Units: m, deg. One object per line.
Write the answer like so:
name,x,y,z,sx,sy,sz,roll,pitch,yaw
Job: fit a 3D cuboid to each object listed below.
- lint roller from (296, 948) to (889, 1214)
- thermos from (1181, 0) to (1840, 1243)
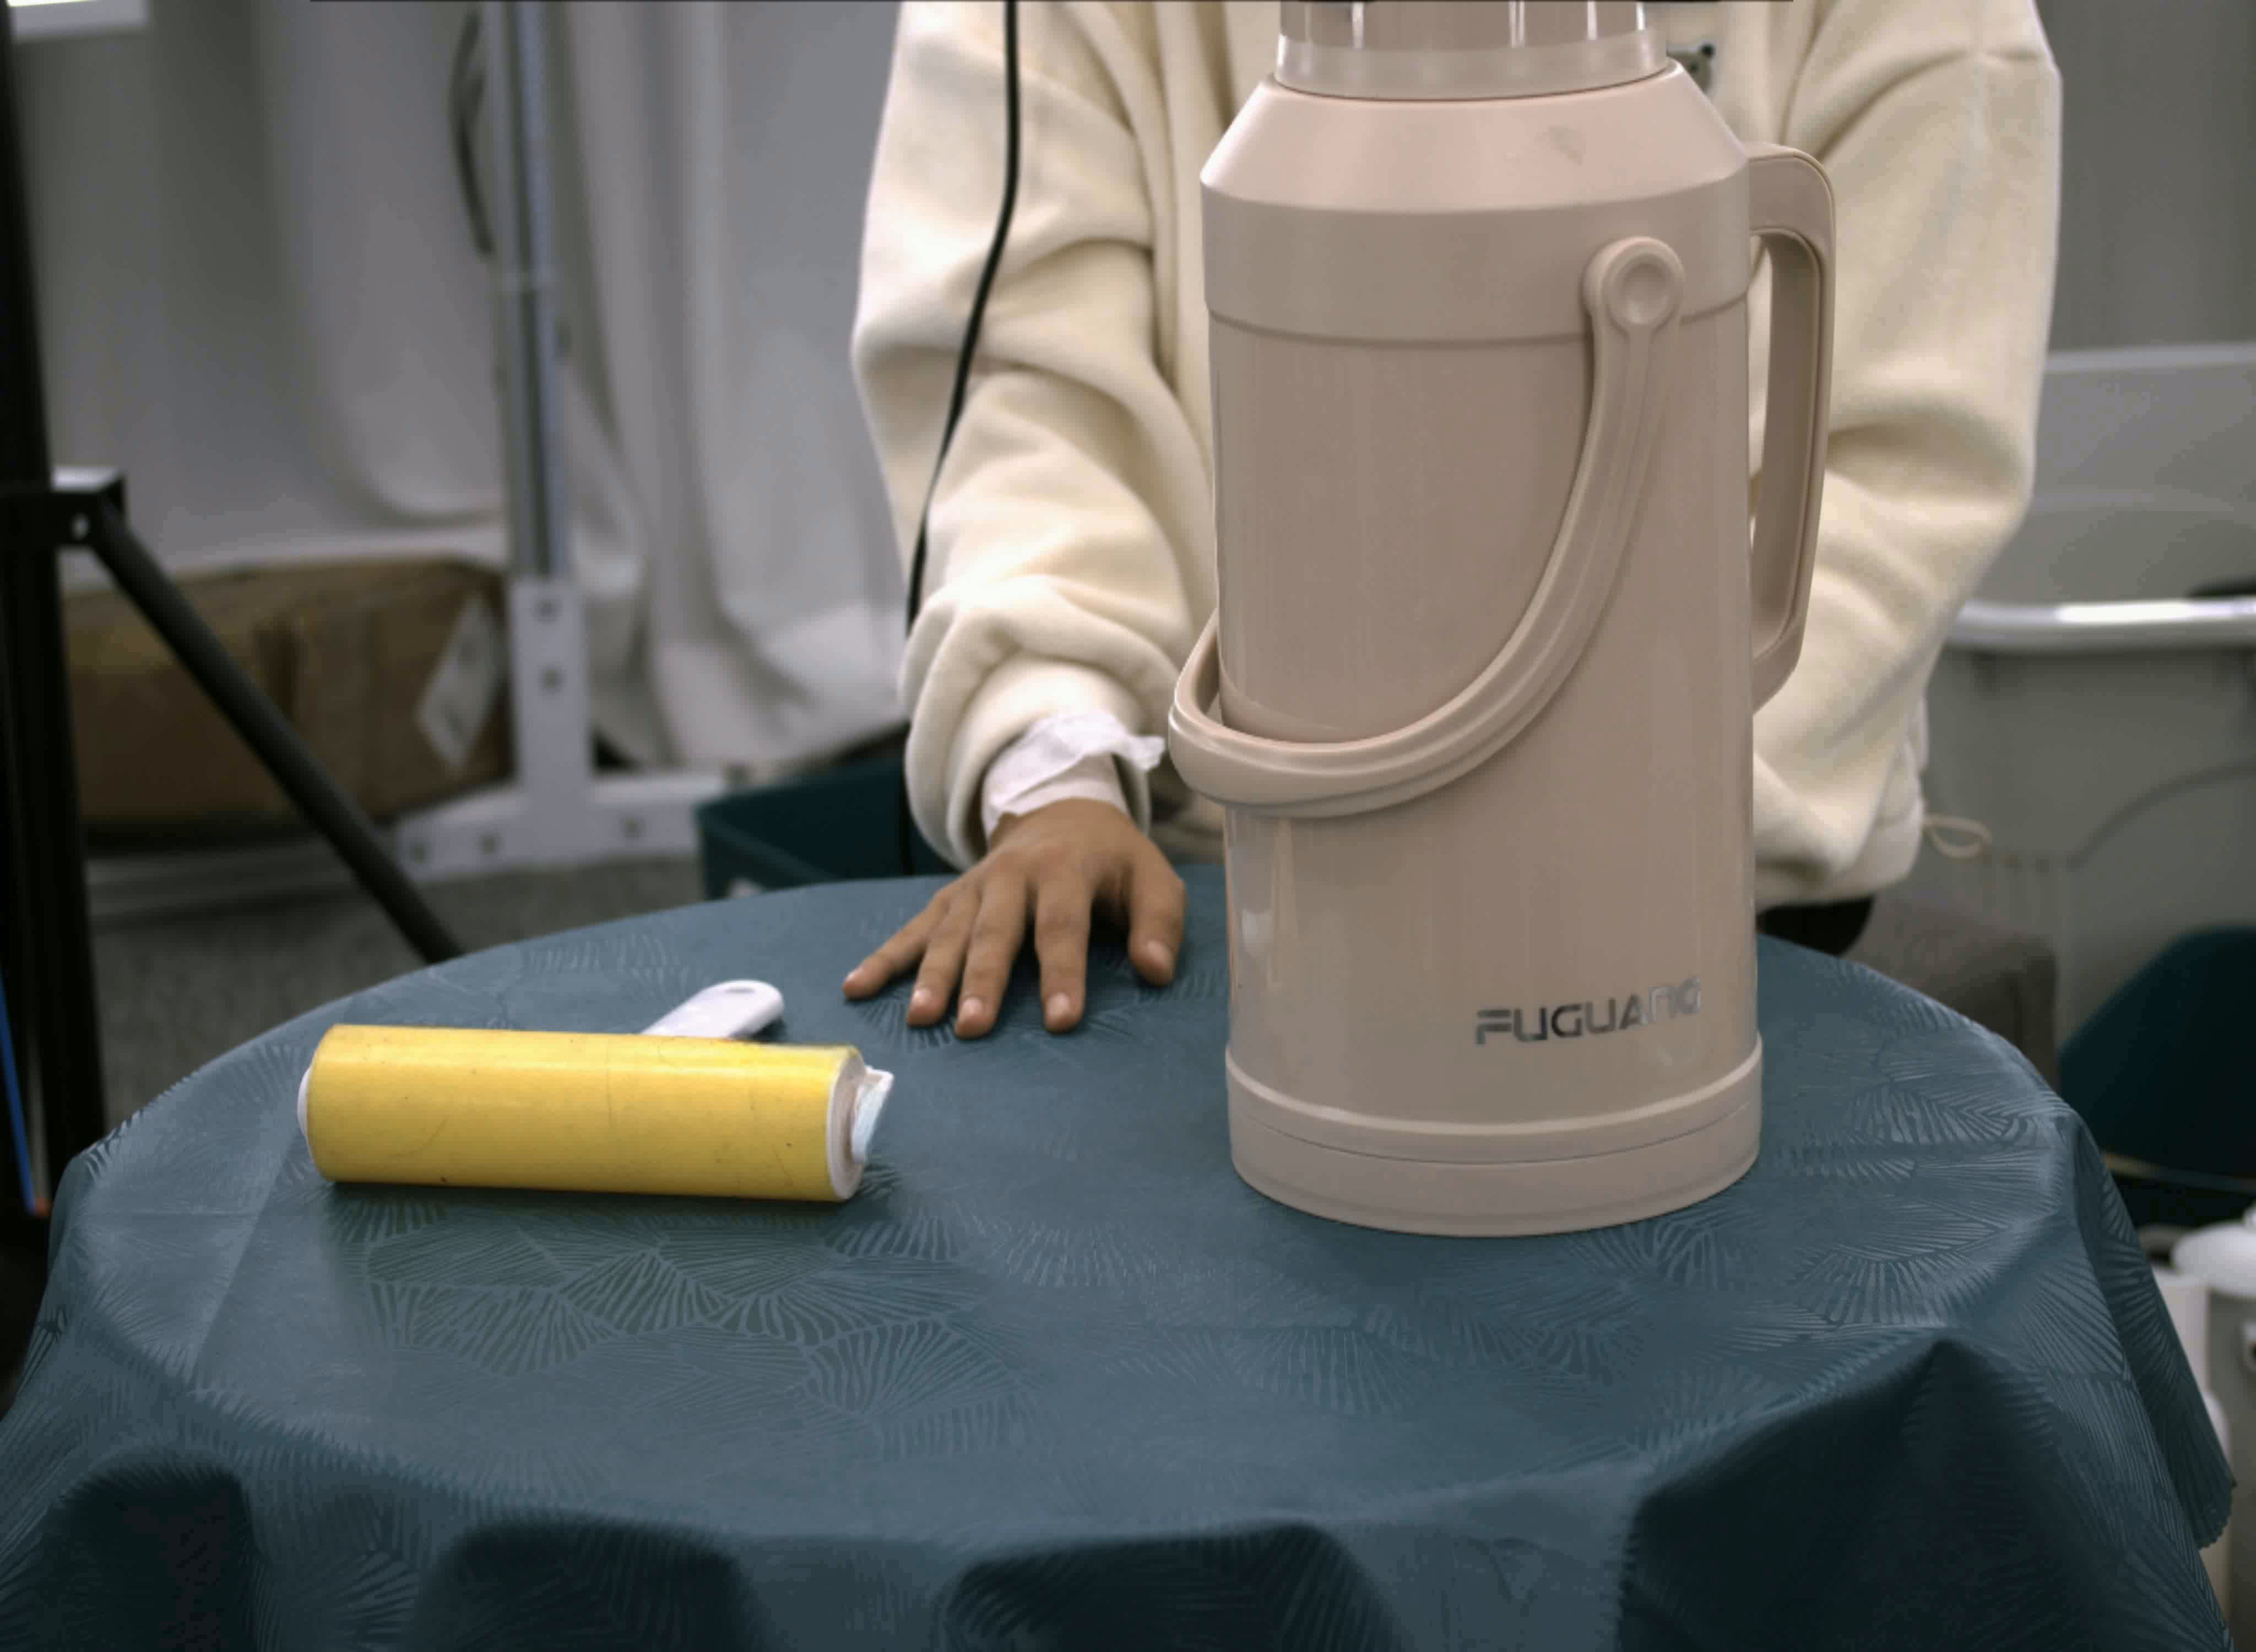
lint roller,-0.147,0.062,1.644,0.175,0.051,0.191,1,23,13
thermos,0.114,-0.096,1.533,0.203,0.406,0.179,-9,16,-26
